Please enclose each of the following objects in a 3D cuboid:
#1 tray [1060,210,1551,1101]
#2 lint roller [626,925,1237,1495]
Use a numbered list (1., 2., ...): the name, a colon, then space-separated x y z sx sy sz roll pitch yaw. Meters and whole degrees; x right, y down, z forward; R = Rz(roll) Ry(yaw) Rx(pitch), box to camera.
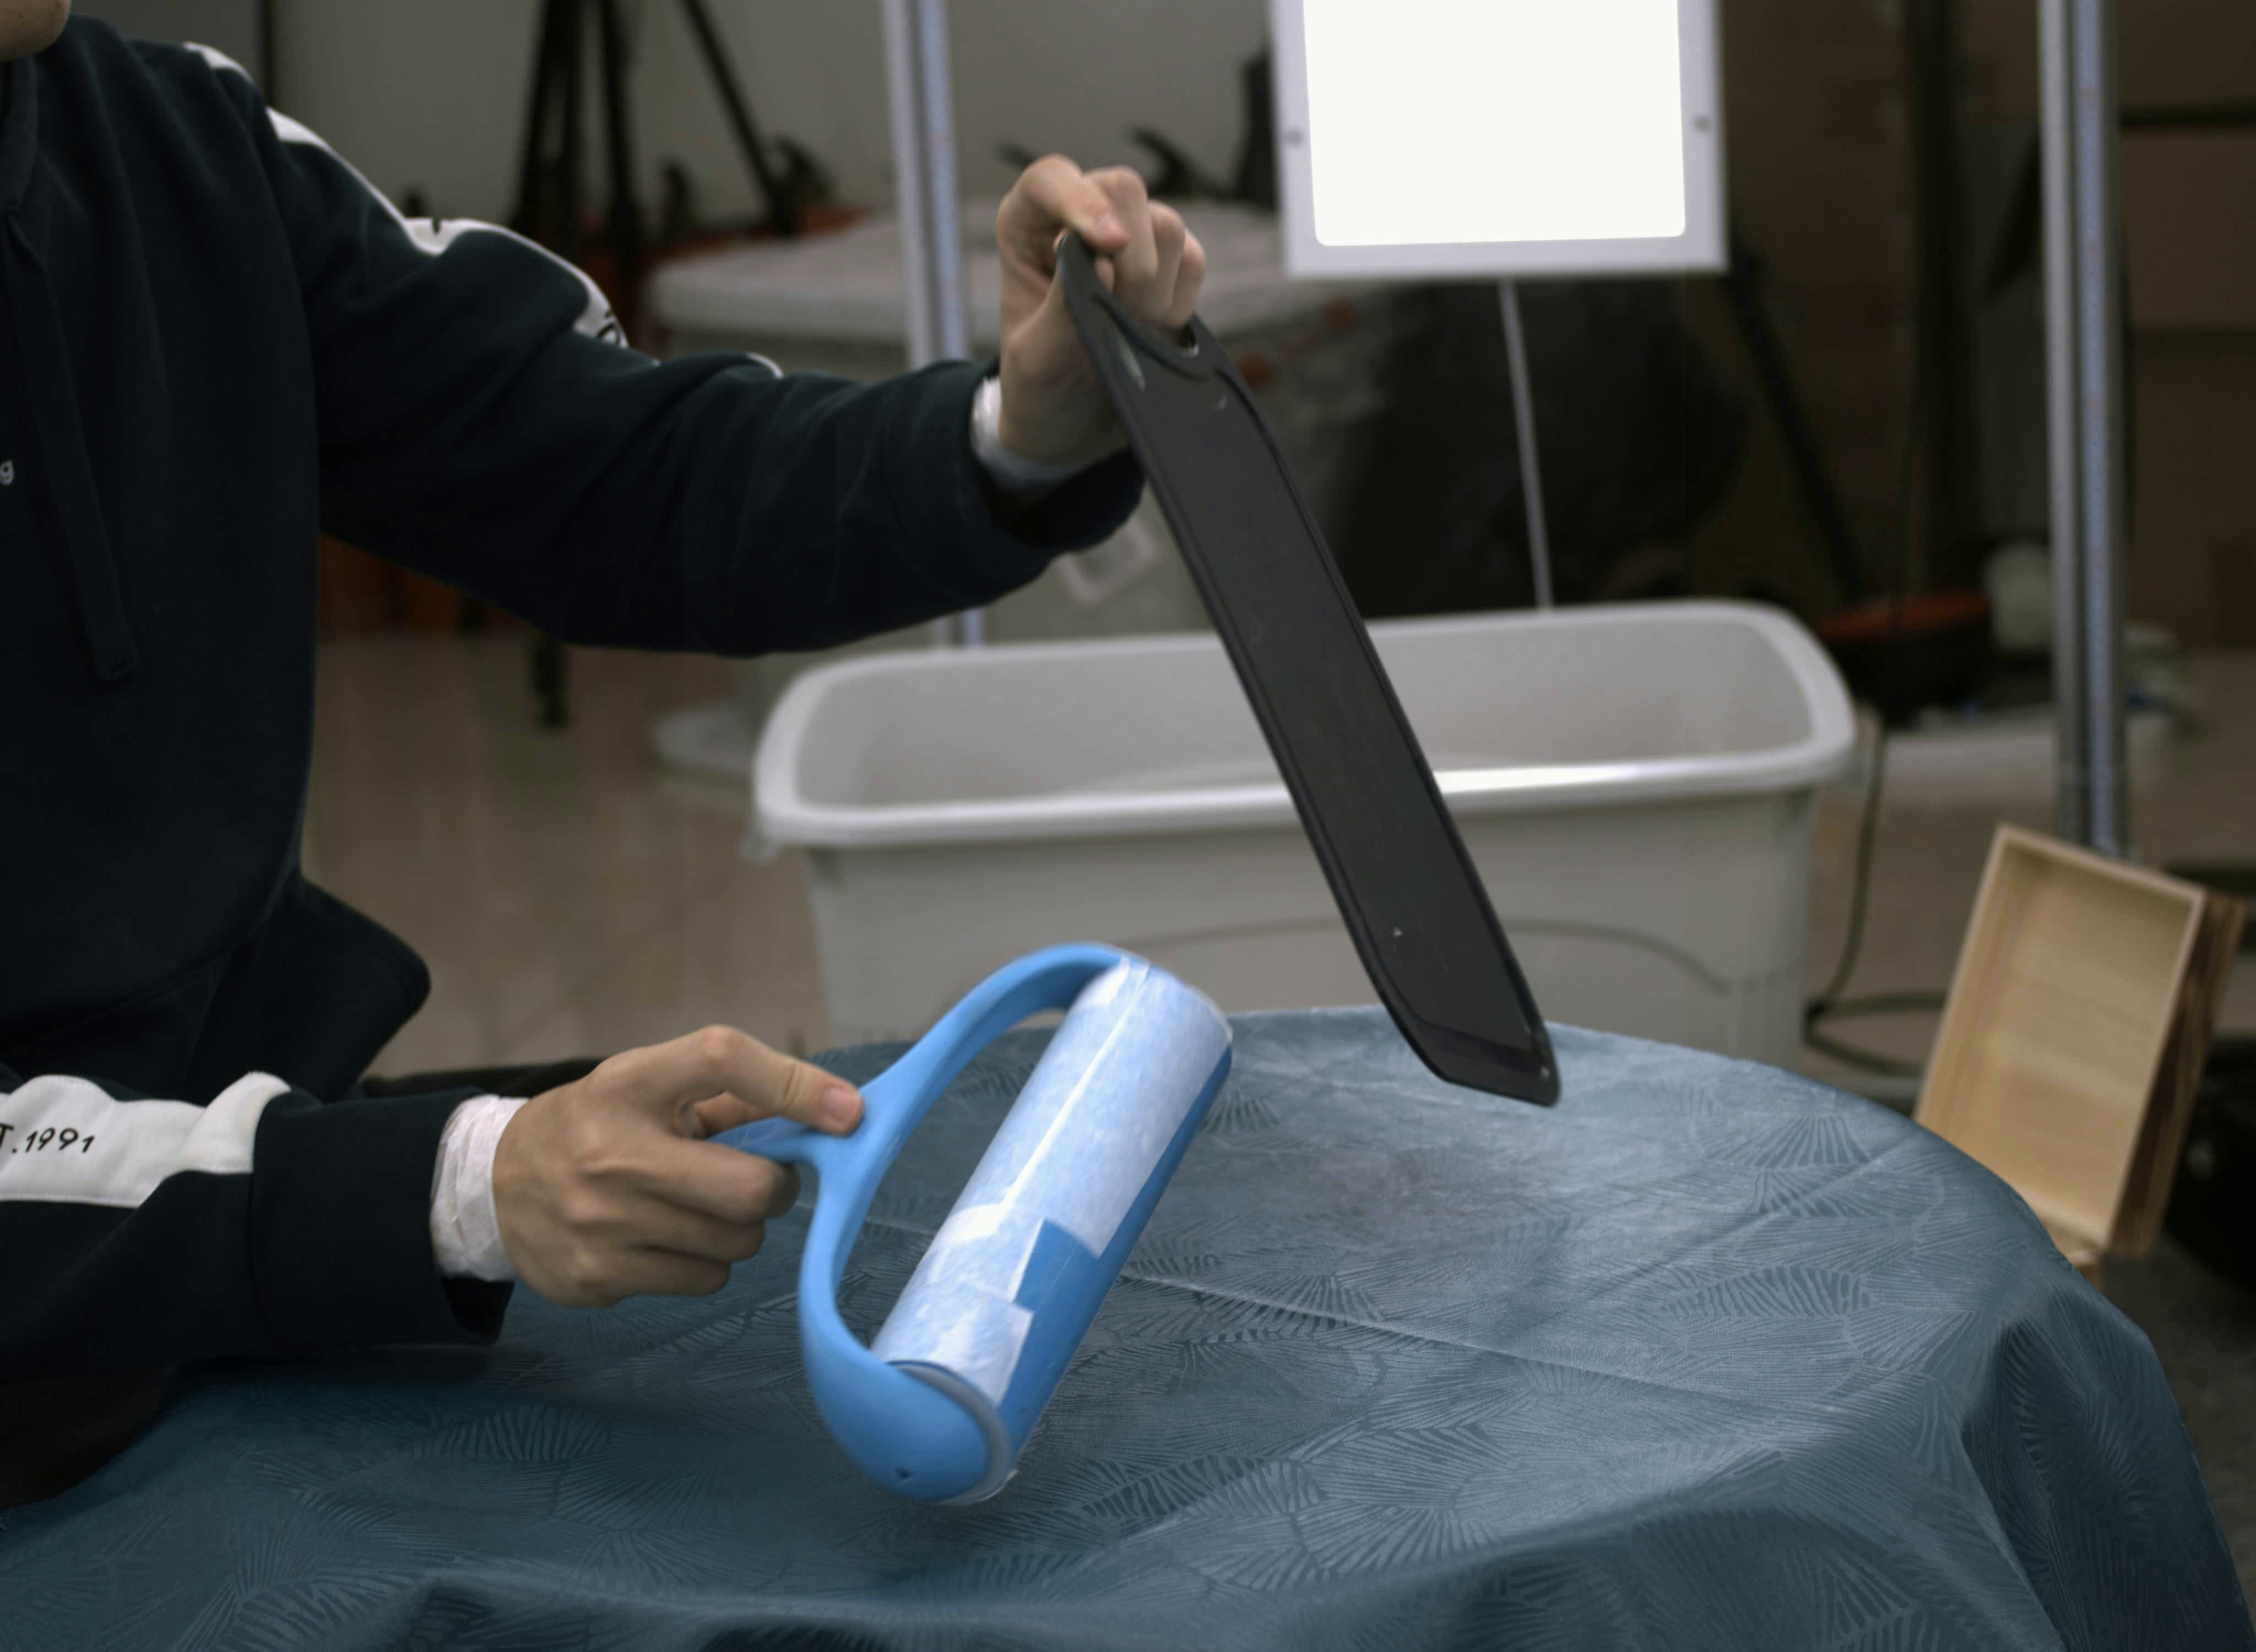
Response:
1. tray: 0.059 -0.061 1.829 0.010 0.327 0.208 -27 -15 13
2. lint roller: -0.077 0.113 1.674 0.183 0.068 0.226 1 39 21
